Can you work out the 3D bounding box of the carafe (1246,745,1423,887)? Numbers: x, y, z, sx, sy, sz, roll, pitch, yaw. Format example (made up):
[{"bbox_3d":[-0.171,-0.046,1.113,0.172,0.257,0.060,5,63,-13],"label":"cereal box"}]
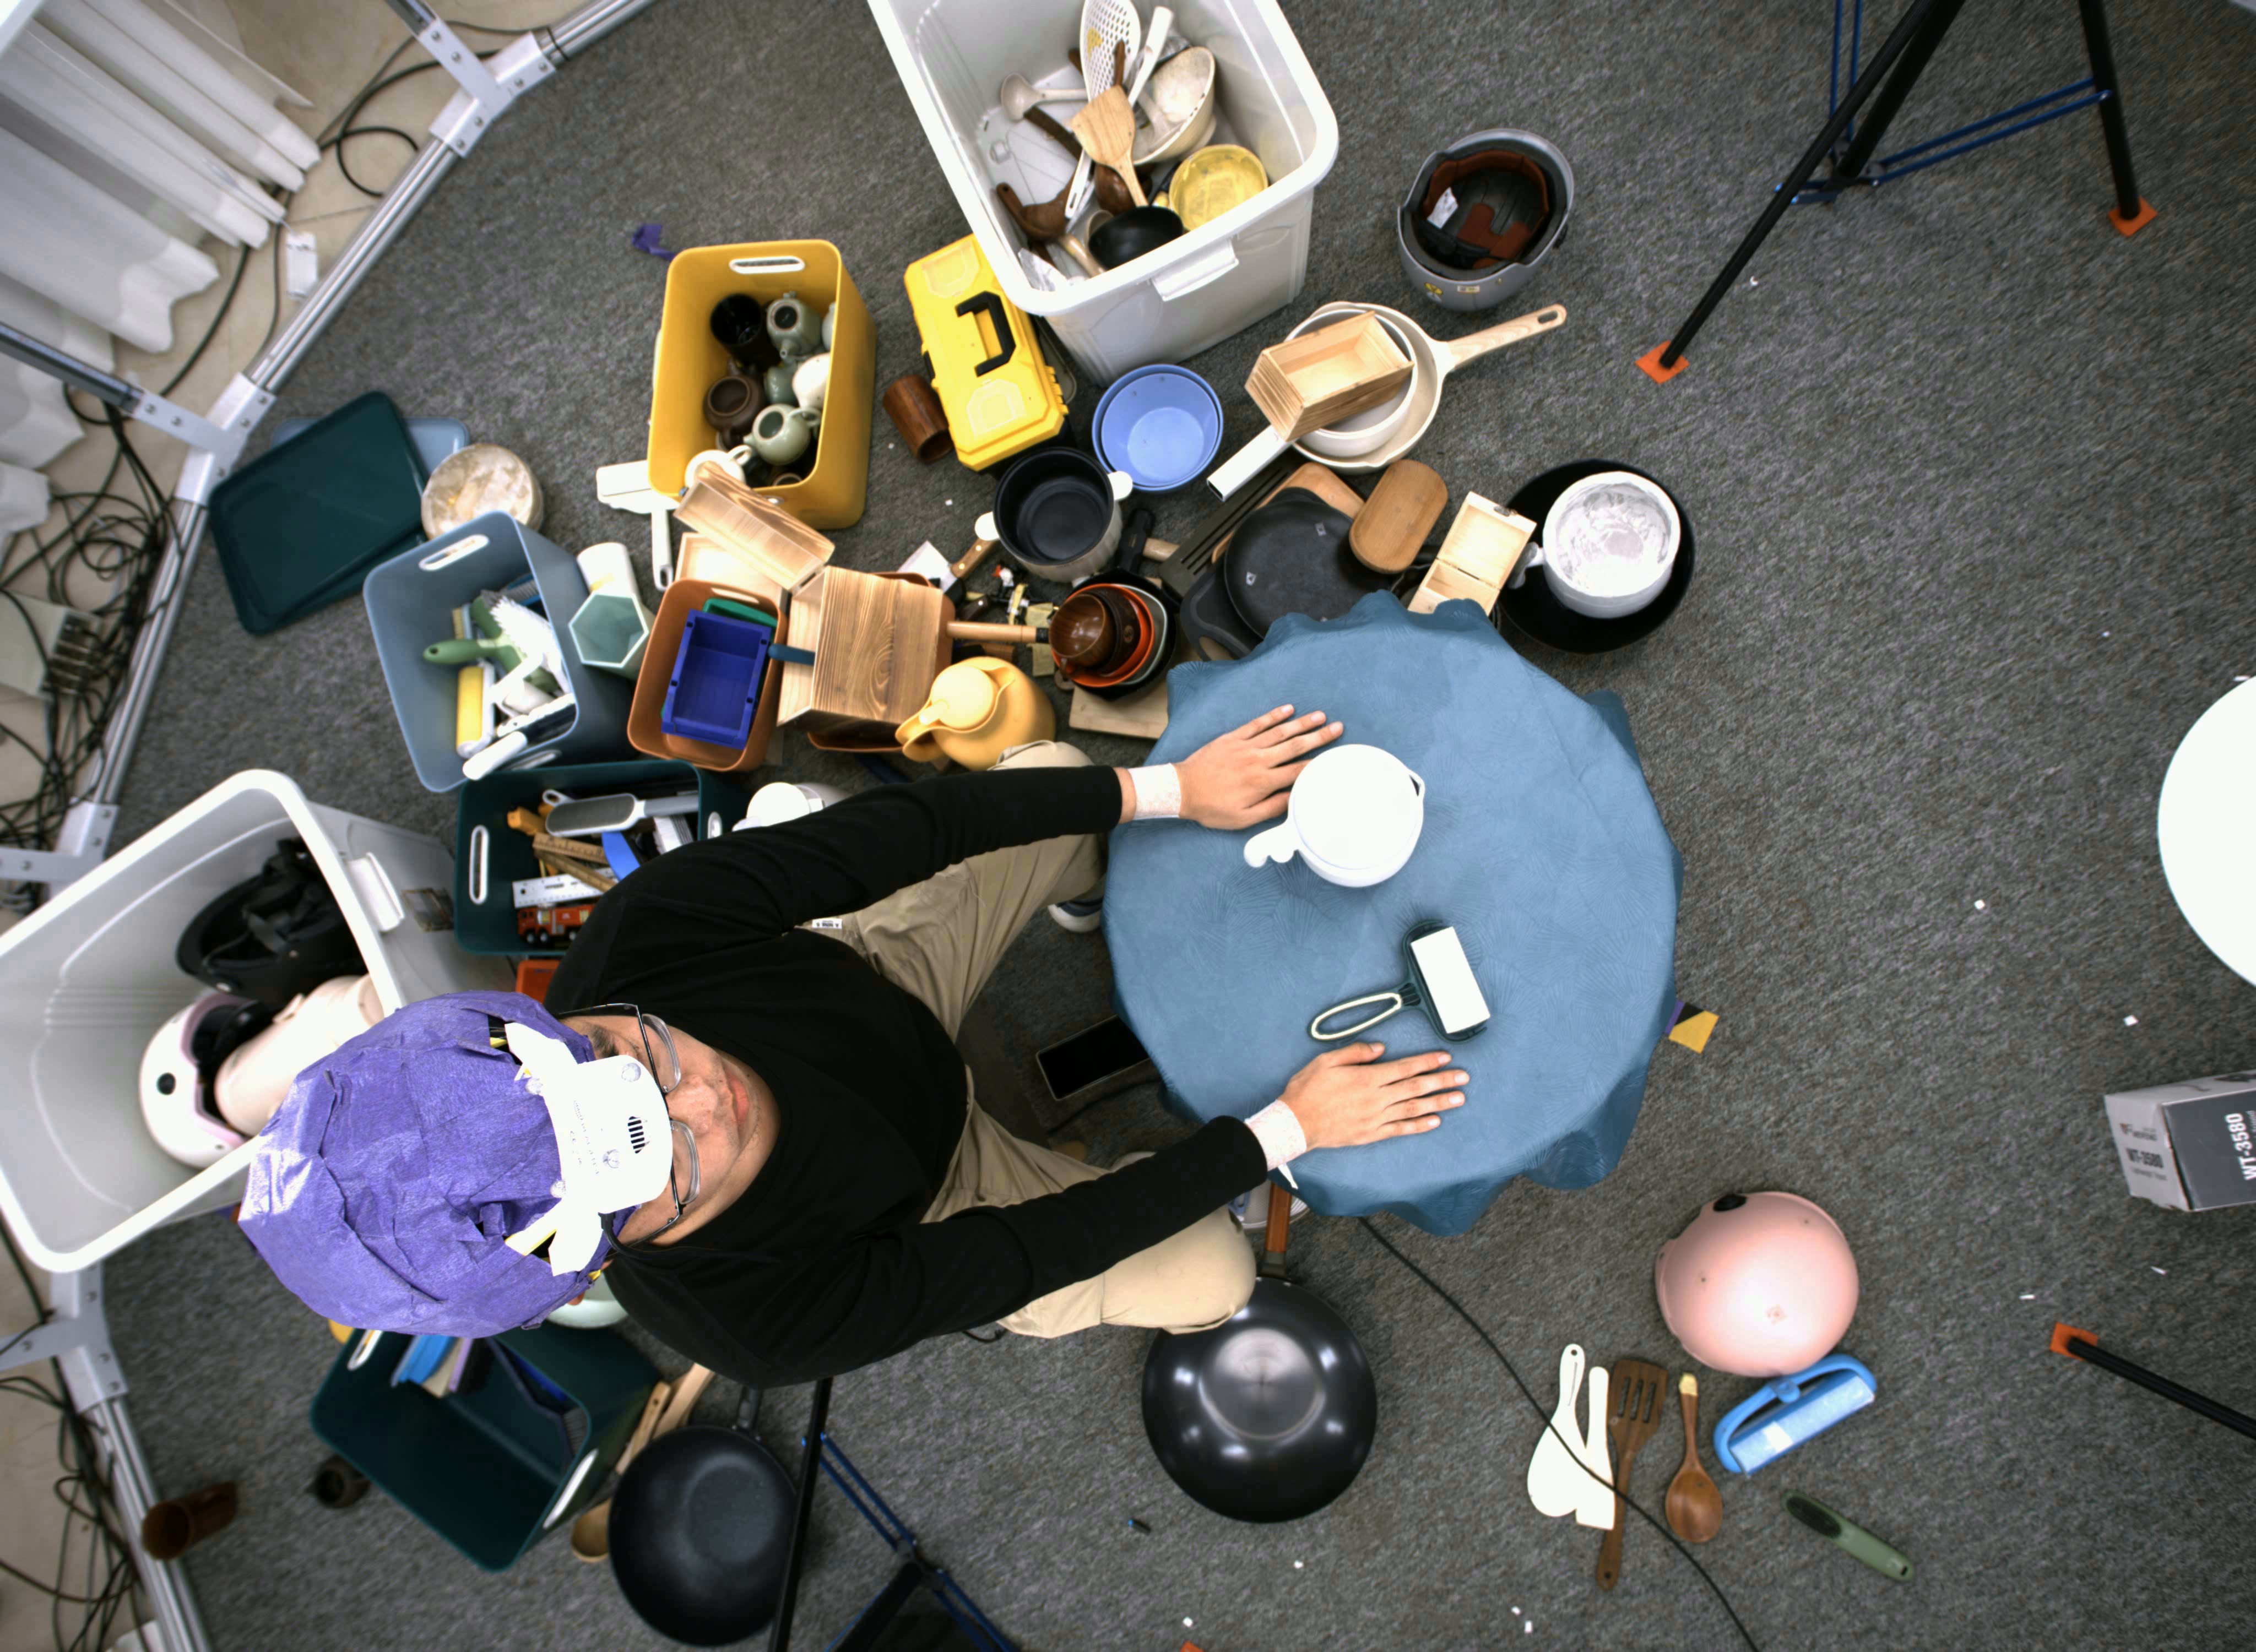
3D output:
[{"bbox_3d":[0.206,0.000,1.389,0.192,0.182,0.131,-23,81,10],"label":"carafe"}]

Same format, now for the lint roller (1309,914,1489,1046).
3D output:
[{"bbox_3d":[0.270,0.183,1.433,0.181,0.048,0.133,-23,83,12],"label":"lint roller"}]
